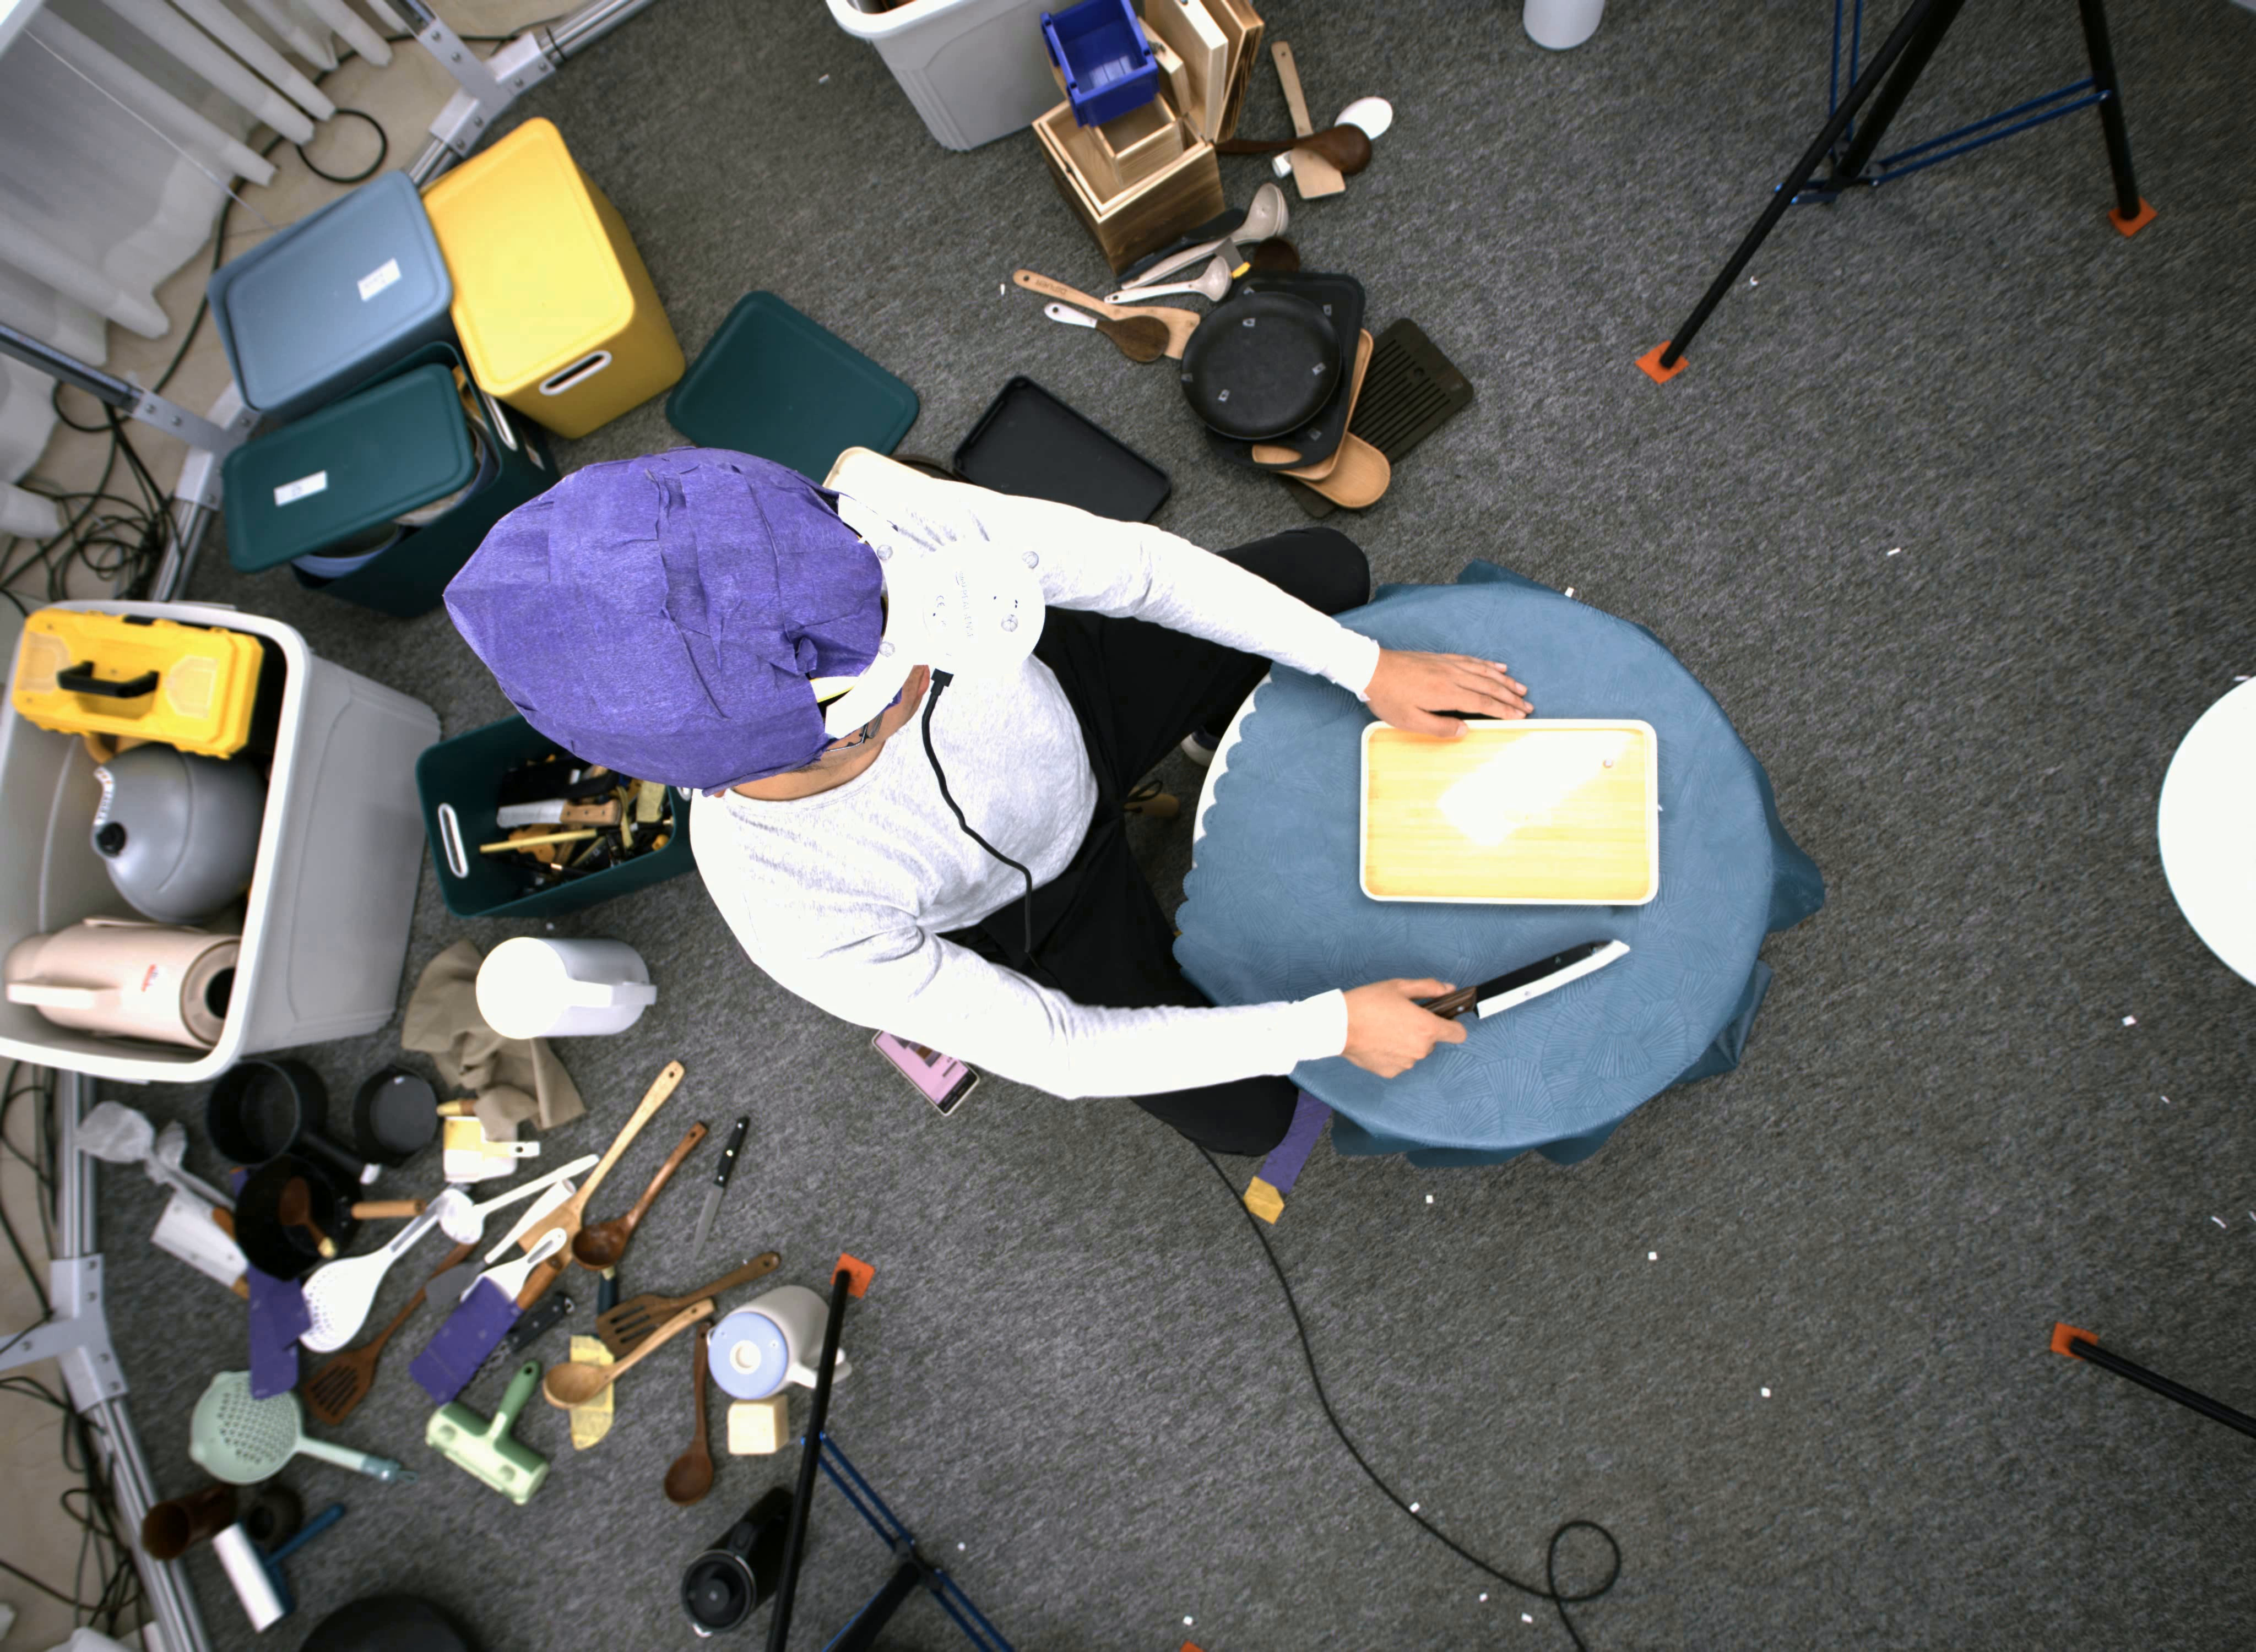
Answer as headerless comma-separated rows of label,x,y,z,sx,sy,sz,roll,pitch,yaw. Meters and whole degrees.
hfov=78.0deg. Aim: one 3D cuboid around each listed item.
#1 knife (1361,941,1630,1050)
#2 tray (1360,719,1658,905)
knife,0.373,0.167,1.390,0.289,0.019,0.051,-19,127,0
tray,0.393,-0.018,1.428,0.301,0.027,0.191,1,87,11
